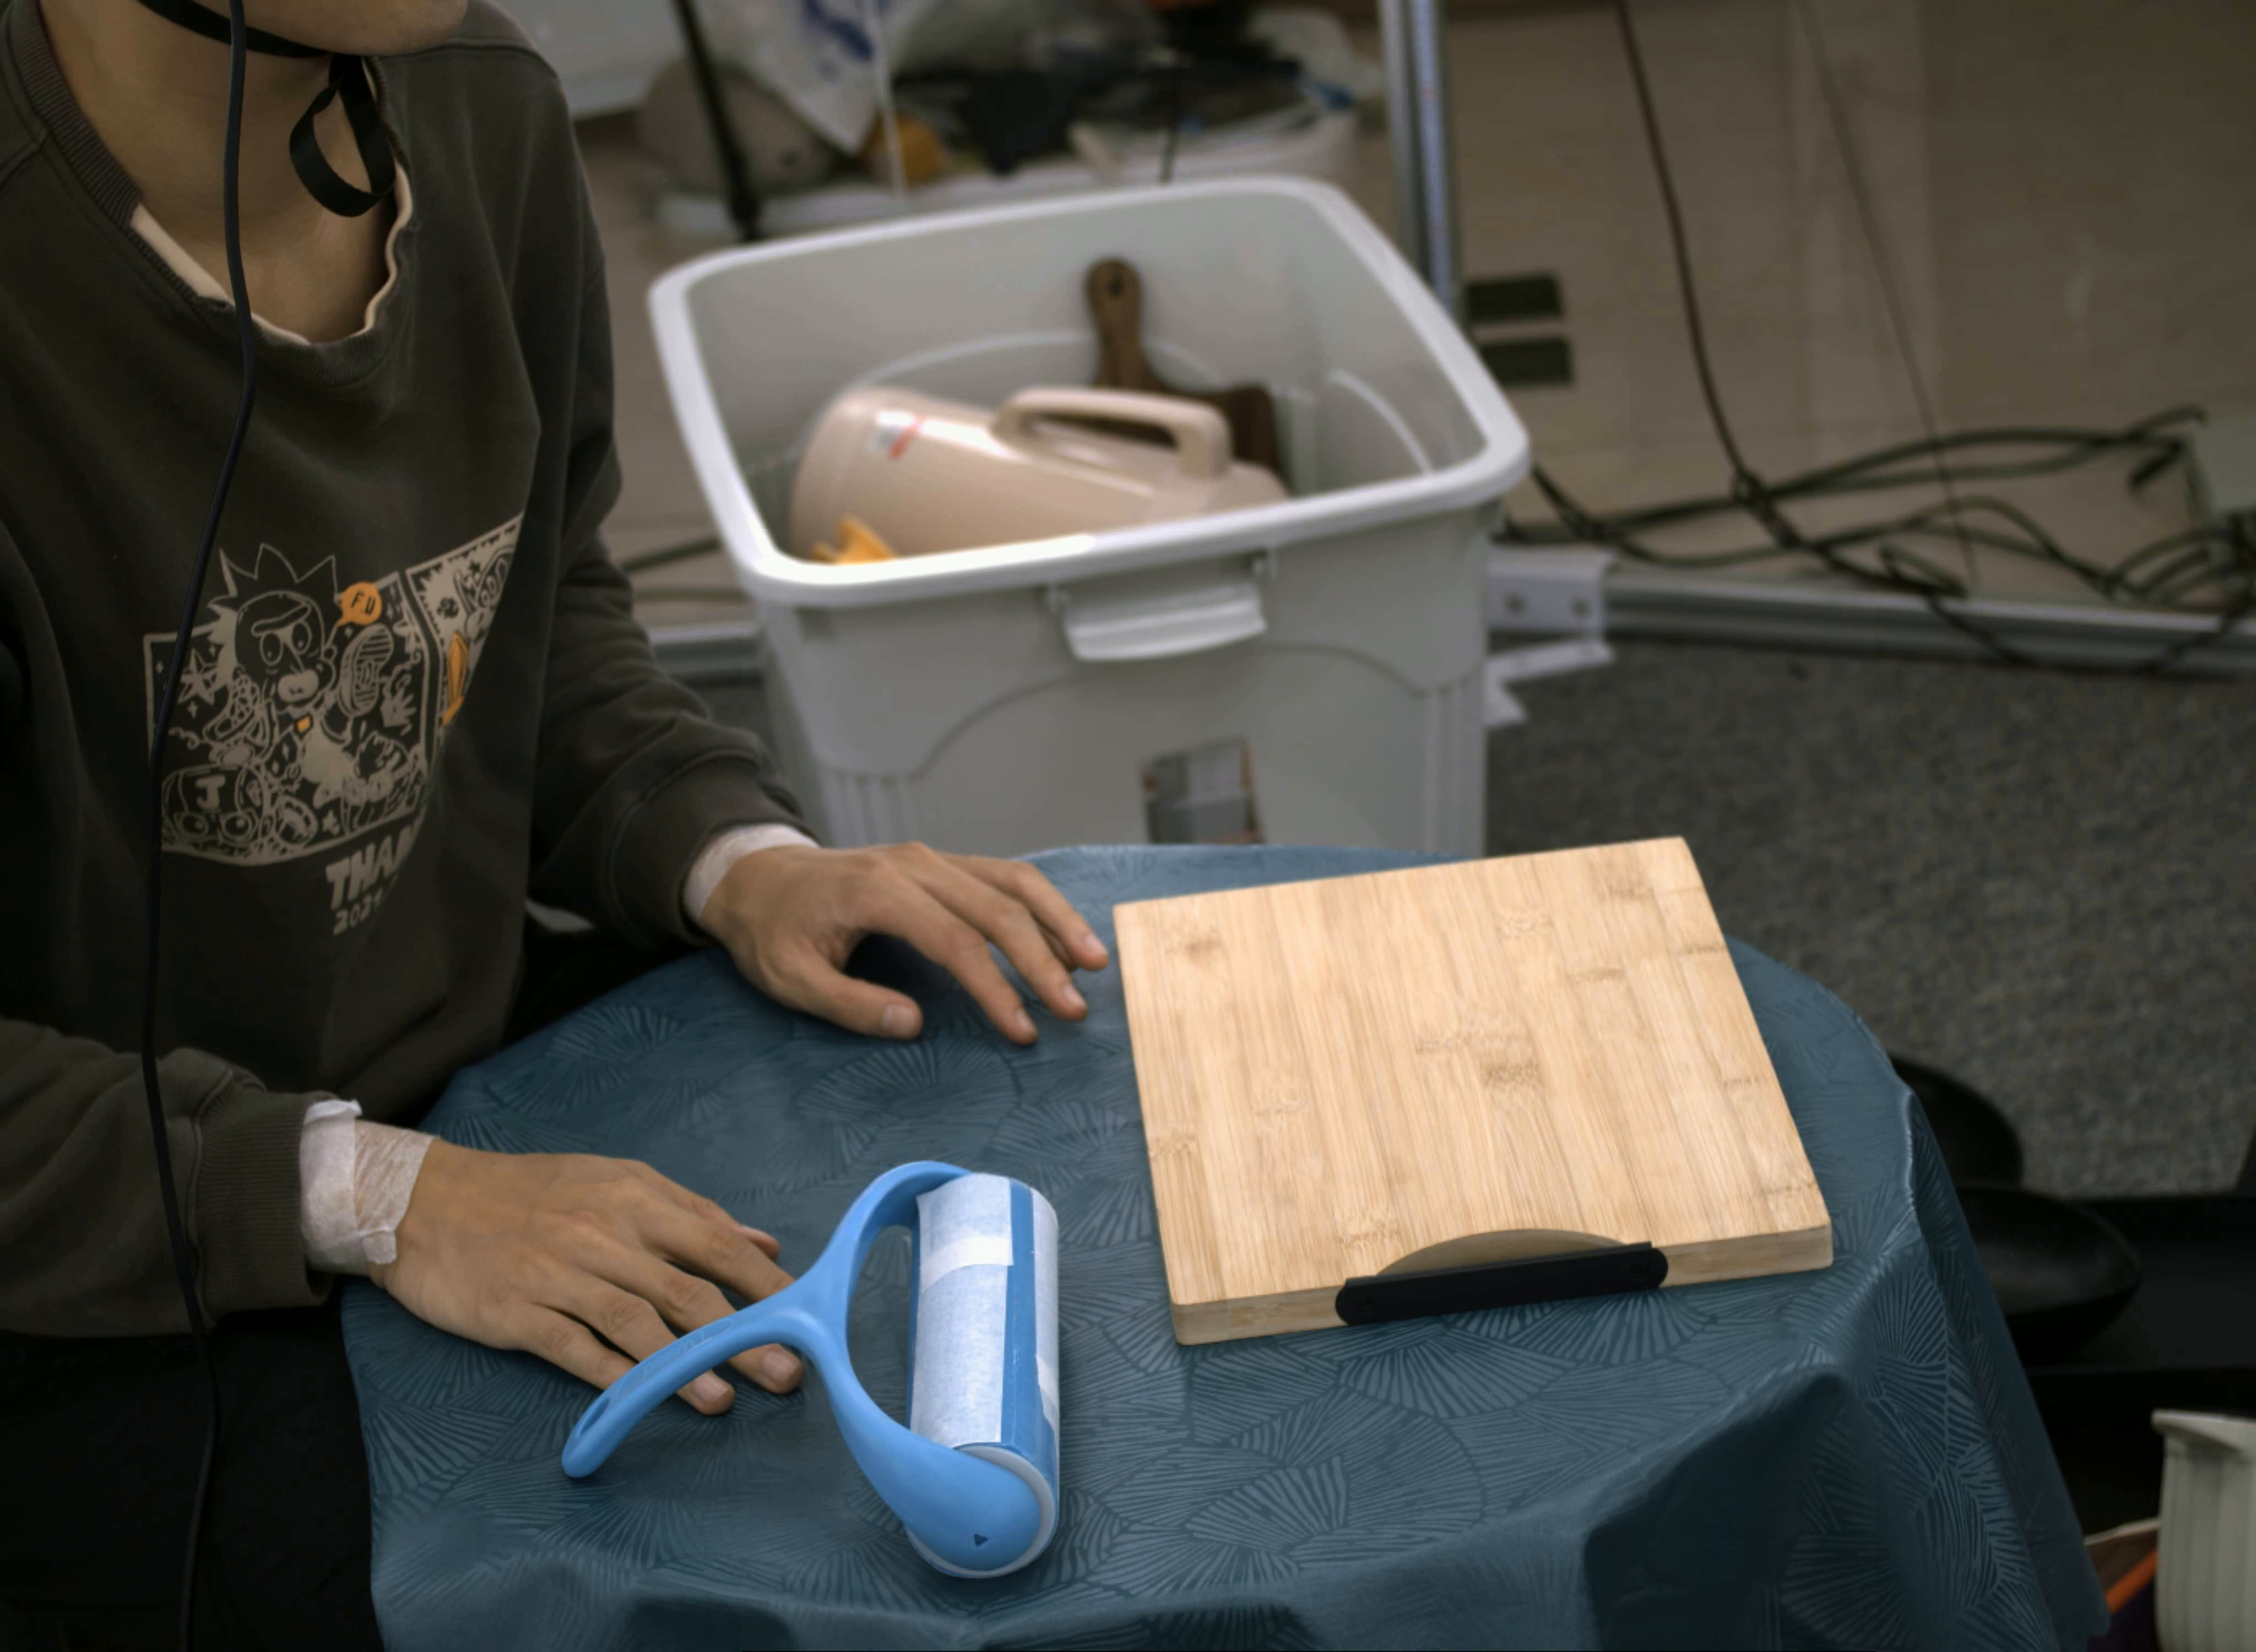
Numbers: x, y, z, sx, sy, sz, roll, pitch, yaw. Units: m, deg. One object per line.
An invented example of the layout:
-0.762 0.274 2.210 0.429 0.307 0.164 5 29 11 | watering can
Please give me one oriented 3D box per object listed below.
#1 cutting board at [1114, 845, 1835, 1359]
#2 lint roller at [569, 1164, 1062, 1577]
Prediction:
0.124 0.099 2.183 0.250 0.024 0.343 -8 25 -1 | cutting board
-0.110 0.194 1.987 0.180 0.069 0.225 -5 26 -1 | lint roller
